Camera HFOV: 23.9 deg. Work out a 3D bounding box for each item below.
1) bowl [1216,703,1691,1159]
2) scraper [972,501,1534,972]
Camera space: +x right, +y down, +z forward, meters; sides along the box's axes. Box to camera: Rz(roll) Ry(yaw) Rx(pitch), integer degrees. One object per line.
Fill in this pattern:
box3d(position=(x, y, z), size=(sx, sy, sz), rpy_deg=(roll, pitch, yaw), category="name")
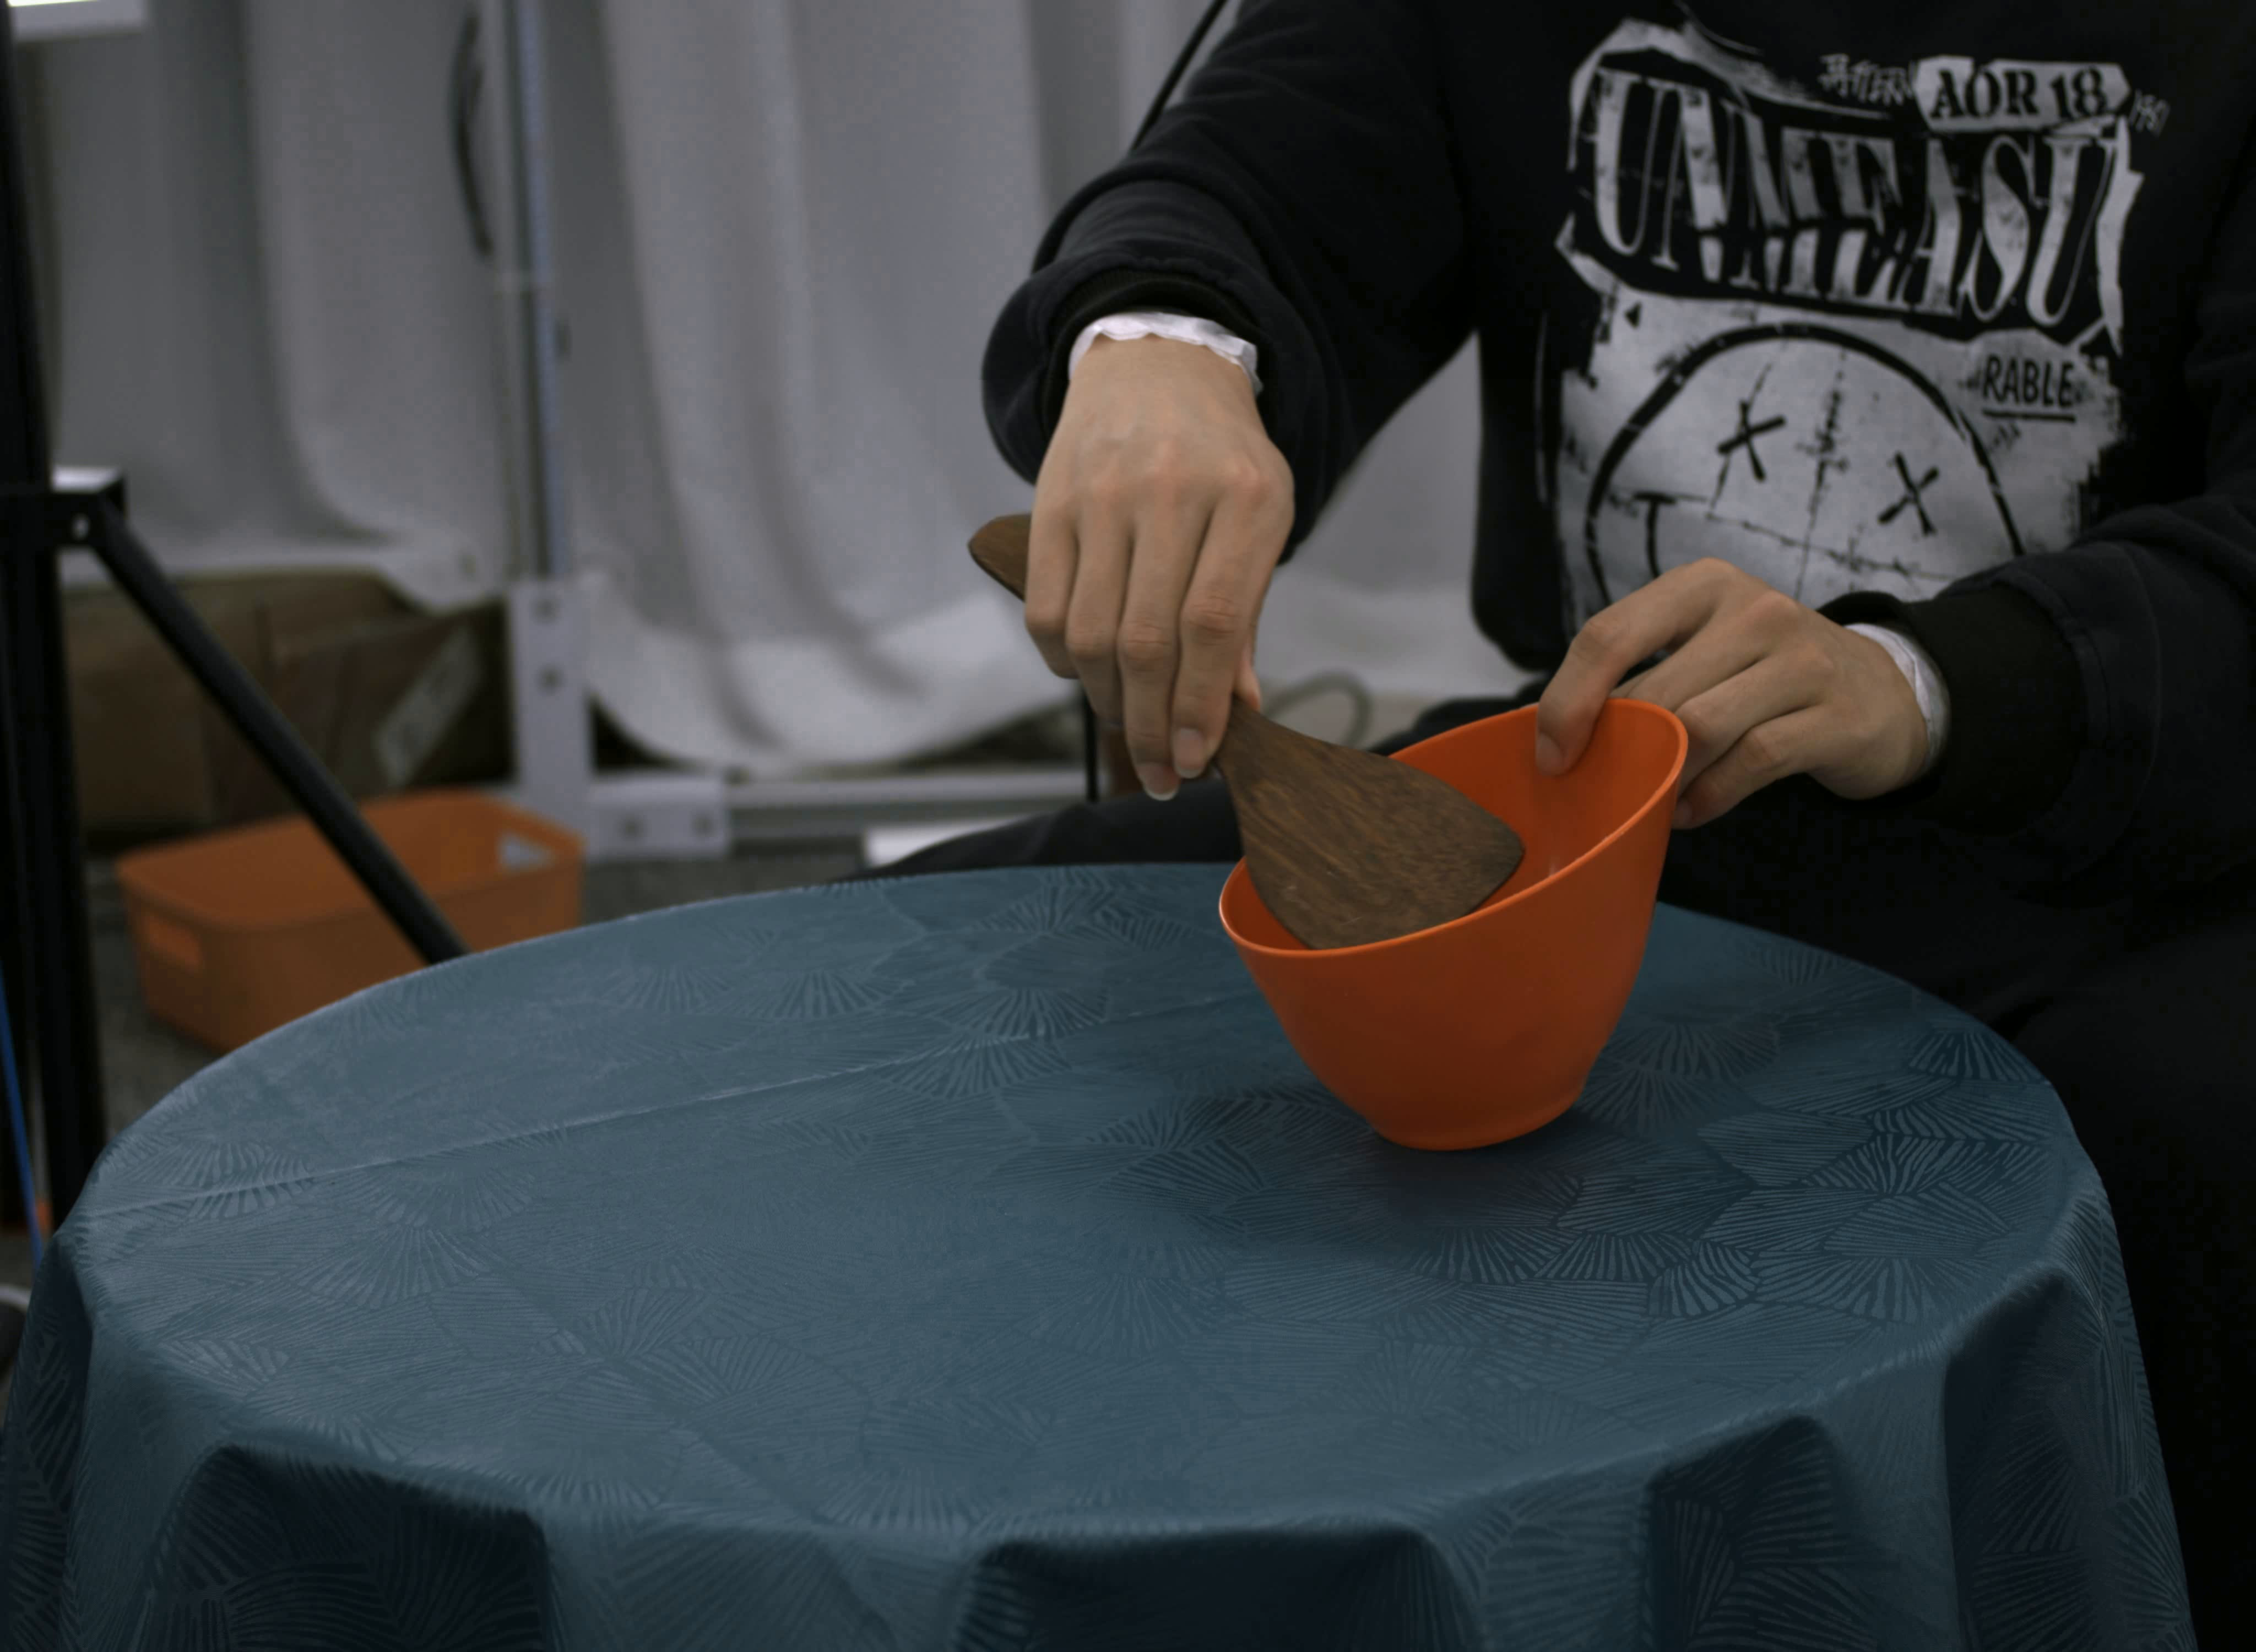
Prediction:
box3d(position=(0.104, 0.038, 1.579), size=(0.148, 0.104, 0.149), rpy_deg=(-13, 23, 4), category="bowl")
box3d(position=(0.028, -0.032, 1.586), size=(0.075, 0.011, 0.215), rpy_deg=(-33, 57, -23), category="scraper")
